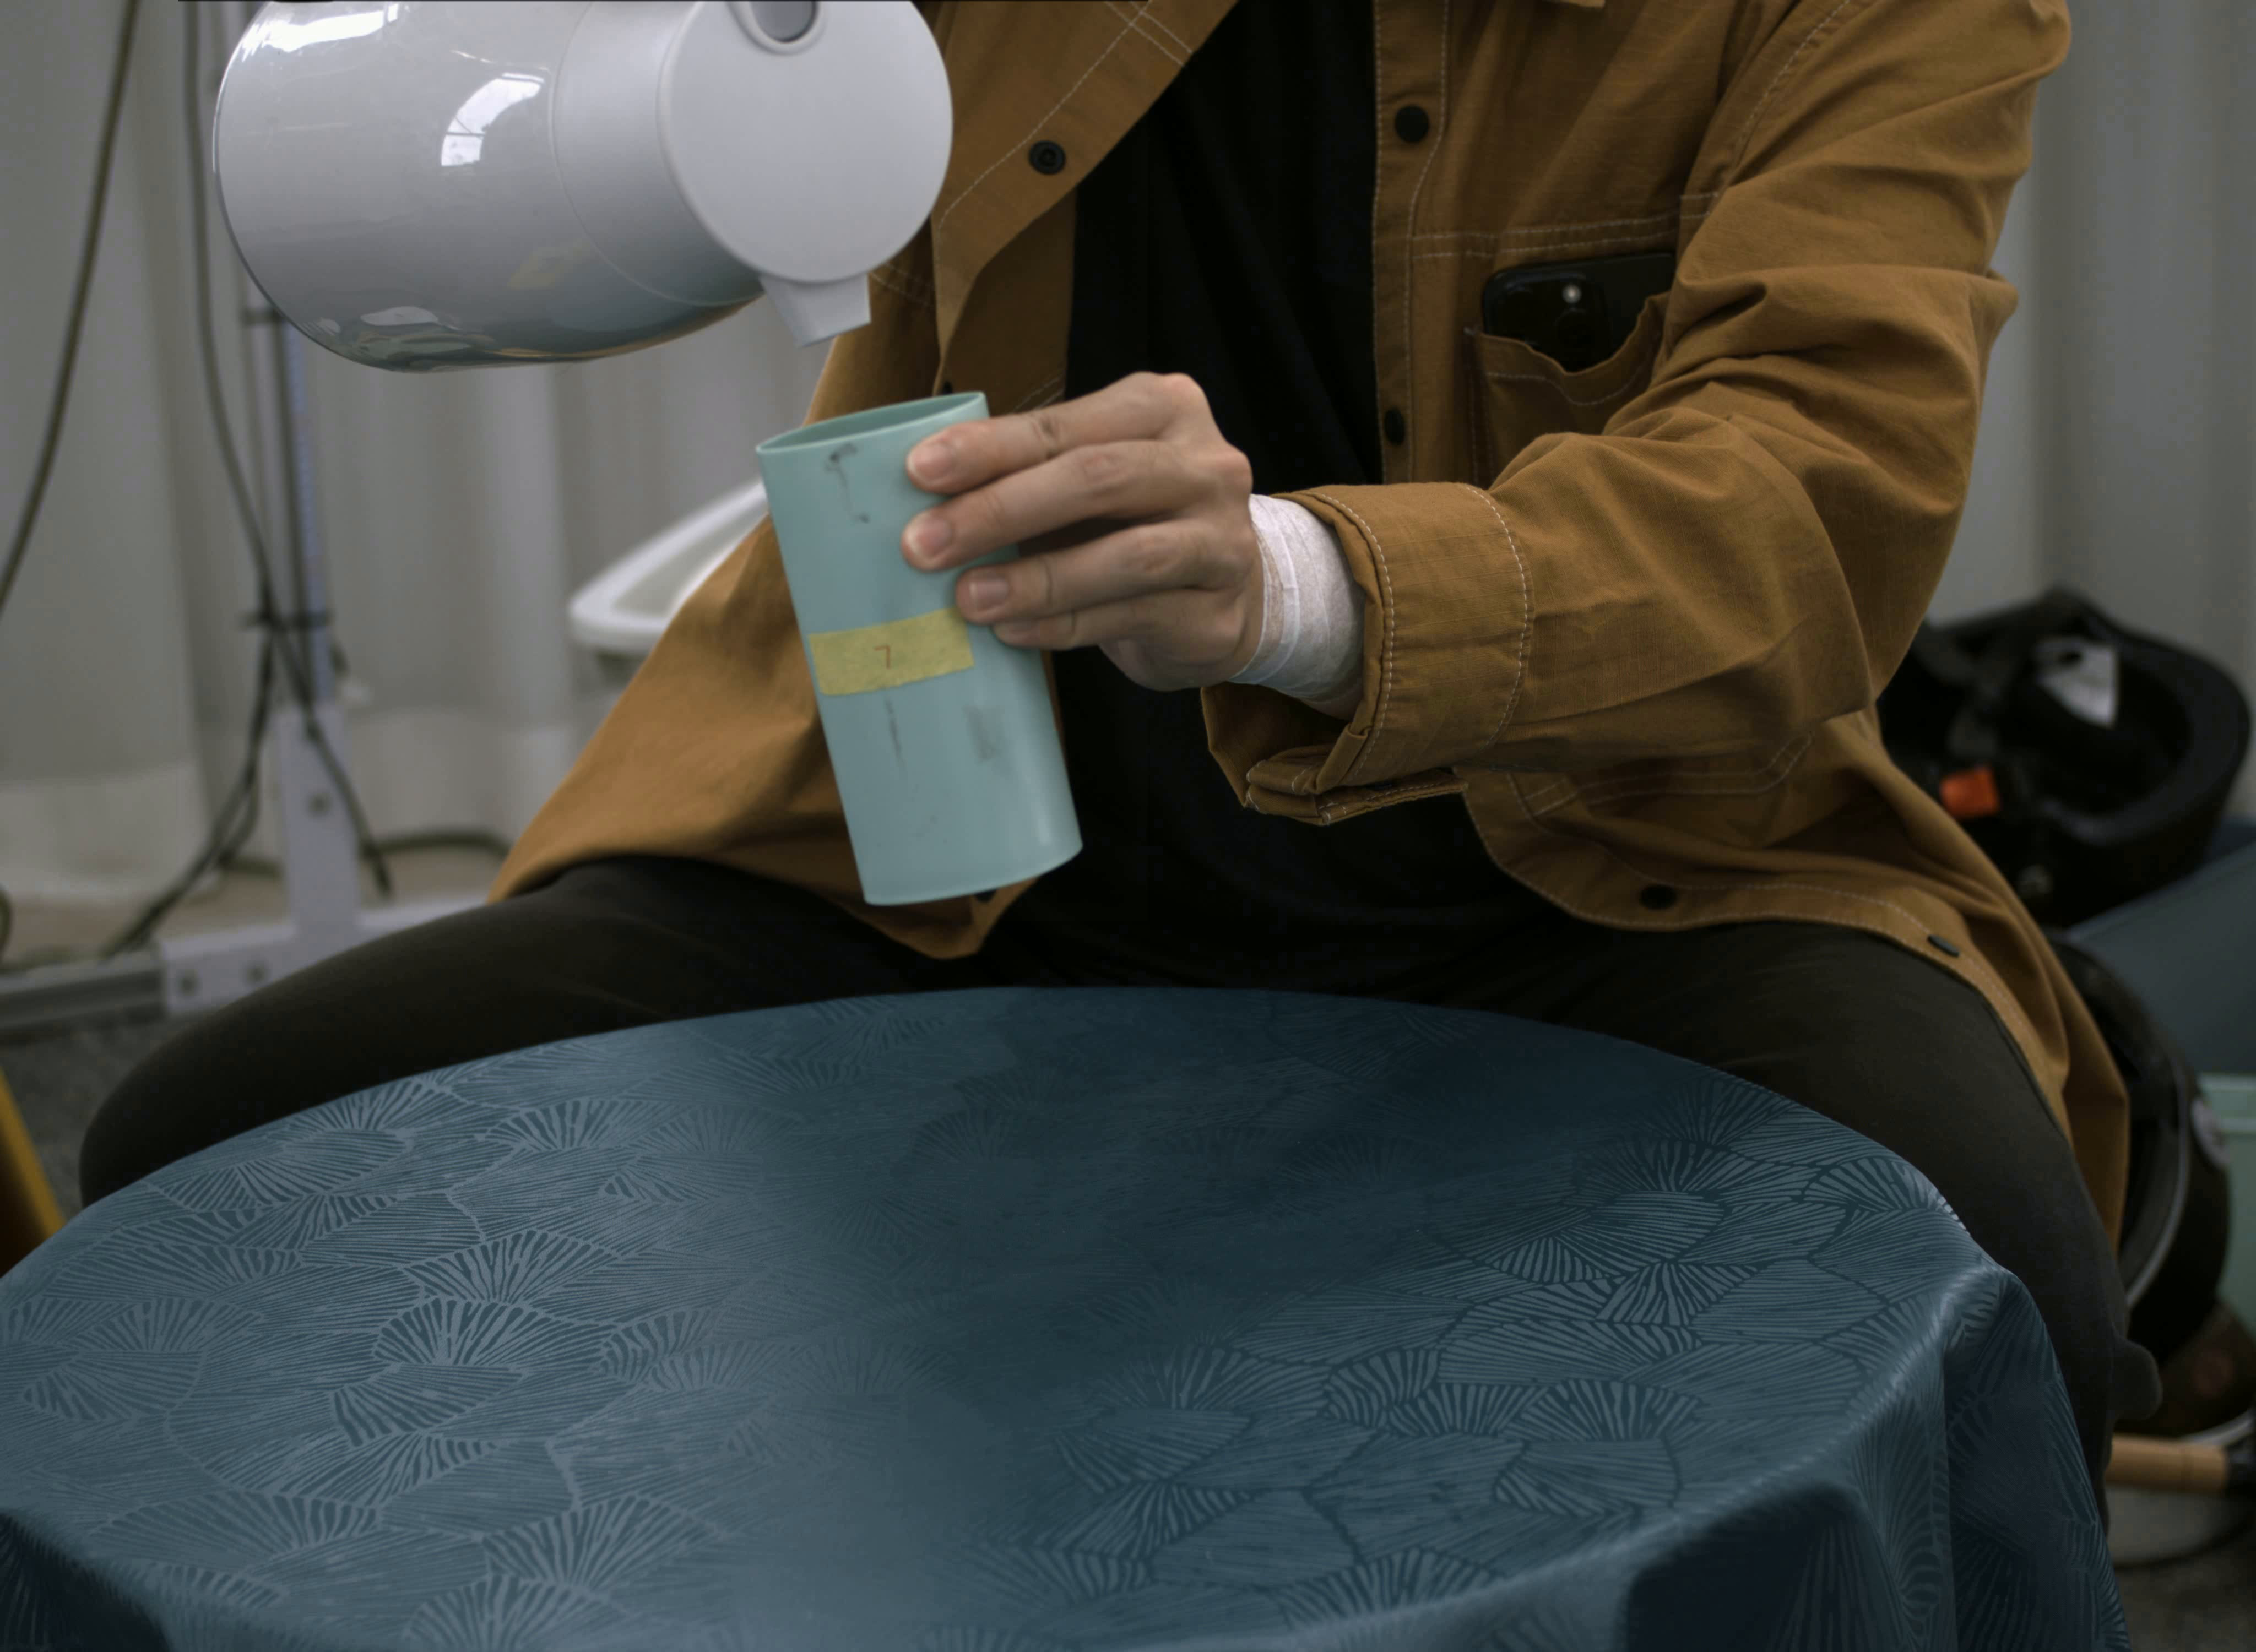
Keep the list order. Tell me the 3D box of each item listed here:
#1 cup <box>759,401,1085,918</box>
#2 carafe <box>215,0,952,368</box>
[{"bbox_3d":[-0.056,-0.047,1.519,0.066,0.132,0.067,-12,9,2],"label":"cup"},{"bbox_3d":[-0.157,-0.217,1.577,0.132,0.167,0.249,-24,15,-30],"label":"carafe"}]
